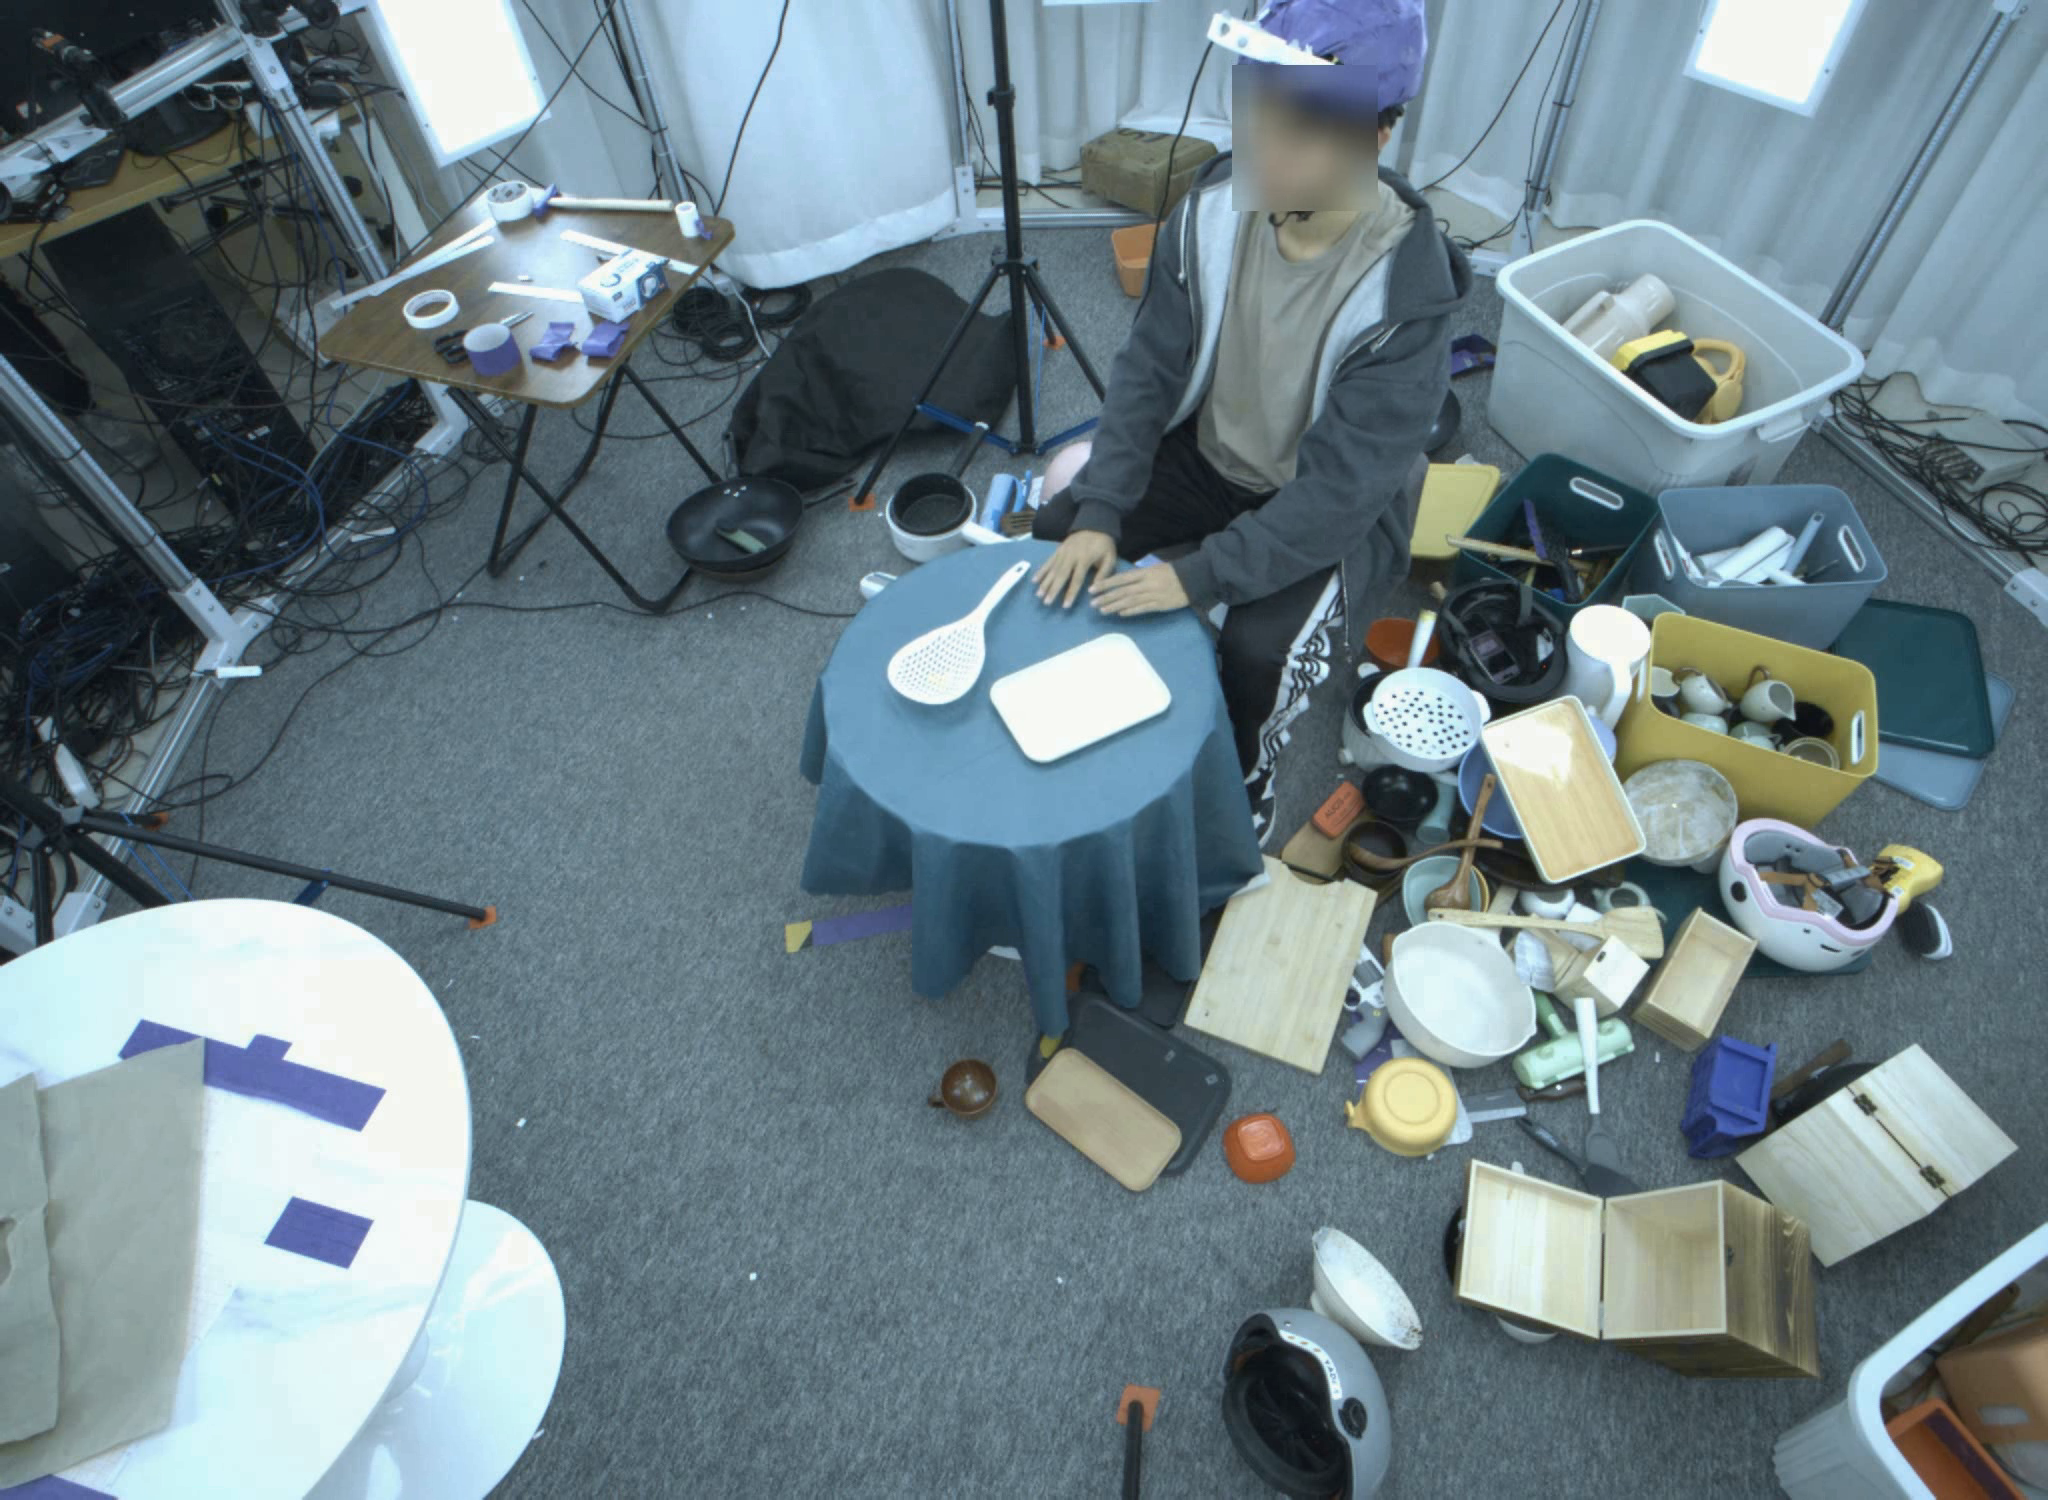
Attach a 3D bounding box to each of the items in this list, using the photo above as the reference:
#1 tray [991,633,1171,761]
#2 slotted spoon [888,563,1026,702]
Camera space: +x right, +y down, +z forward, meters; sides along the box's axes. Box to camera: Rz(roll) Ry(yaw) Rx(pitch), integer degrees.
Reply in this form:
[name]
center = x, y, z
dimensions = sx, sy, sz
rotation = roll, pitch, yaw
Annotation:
[tray]
center = 0.084, -0.079, 1.832
dimensions = 0.241, 0.017, 0.168
rotation = -24, 57, -14
[slotted spoon]
center = -0.080, -0.191, 1.904
dimensions = 0.135, 0.051, 0.348
rotation = 21, 57, 20
